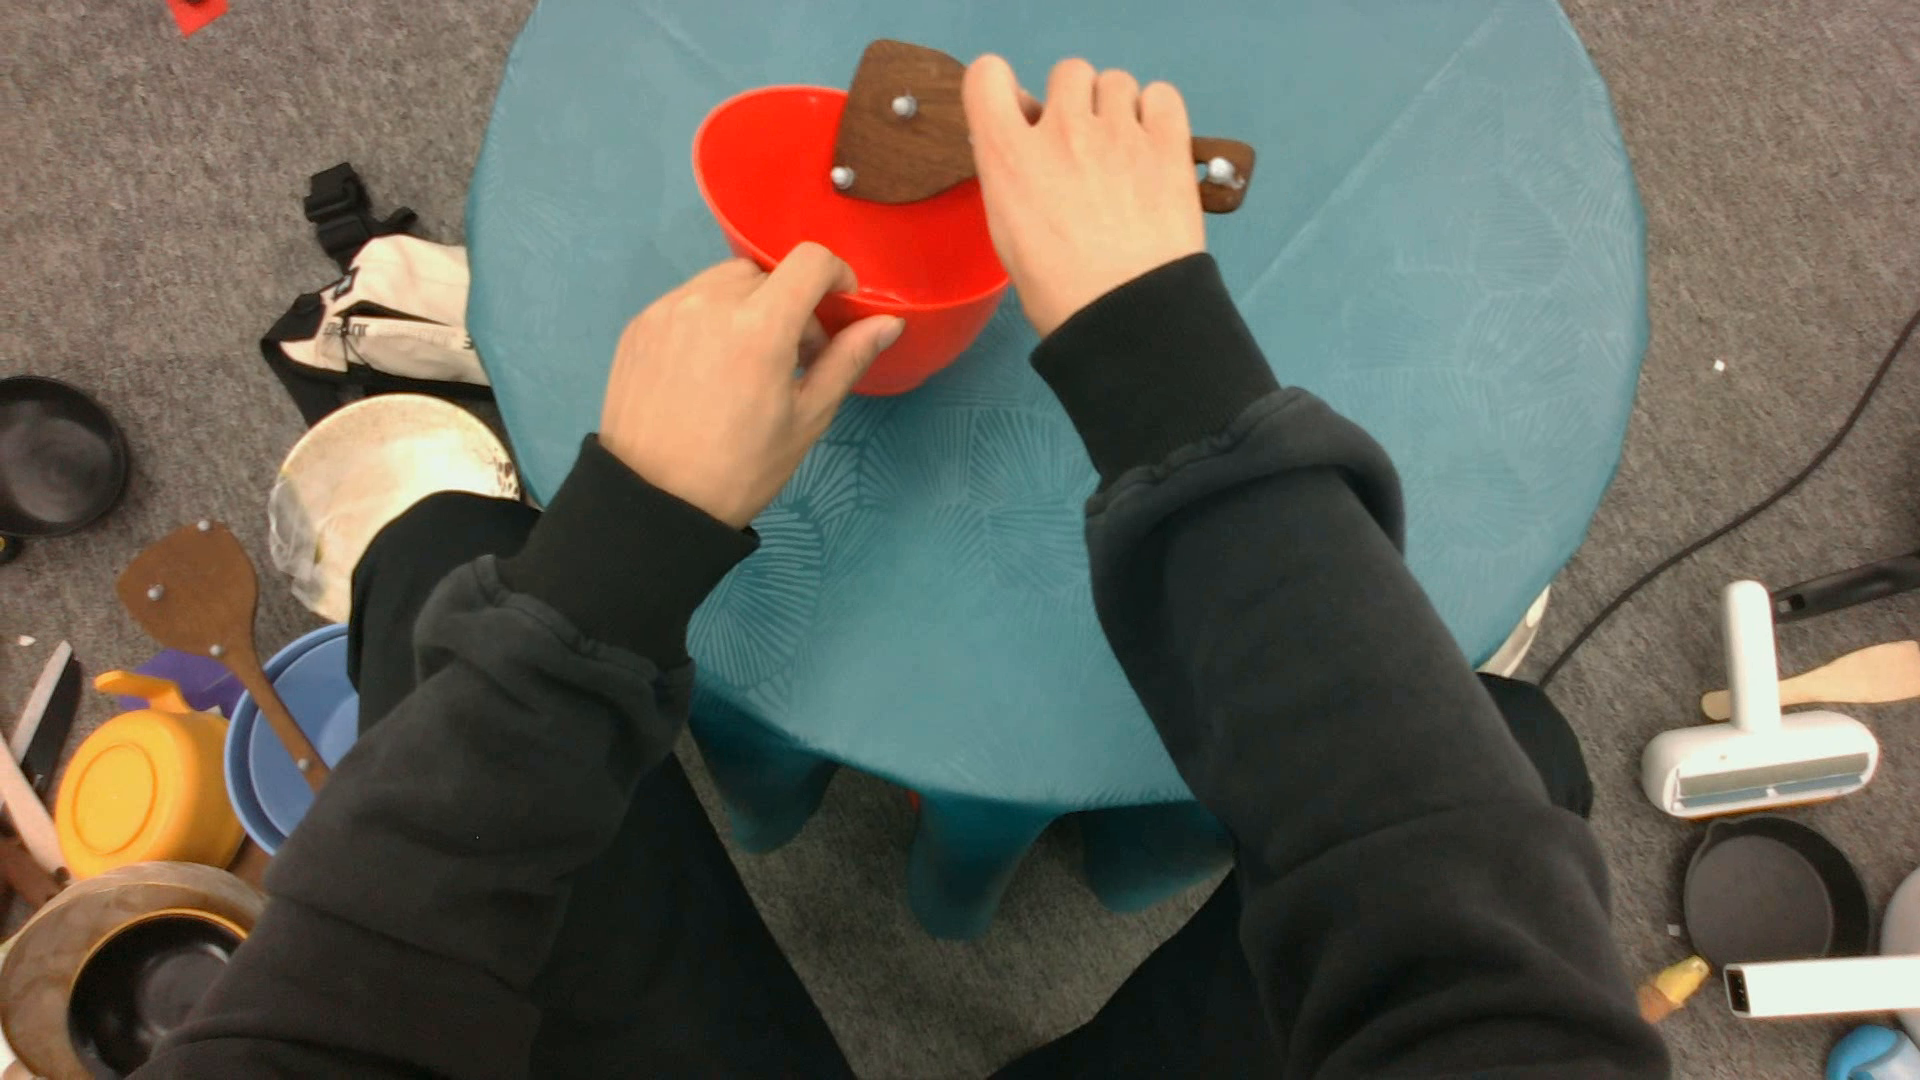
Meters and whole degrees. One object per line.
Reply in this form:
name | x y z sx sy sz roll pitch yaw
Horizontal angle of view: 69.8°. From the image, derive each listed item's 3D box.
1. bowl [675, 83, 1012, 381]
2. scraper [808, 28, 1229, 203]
bowl | -0.054 -0.131 0.630 0.148 0.104 0.148 5 49 -6
scraper | 0.019 -0.173 0.588 0.211 0.011 0.076 20 96 33
